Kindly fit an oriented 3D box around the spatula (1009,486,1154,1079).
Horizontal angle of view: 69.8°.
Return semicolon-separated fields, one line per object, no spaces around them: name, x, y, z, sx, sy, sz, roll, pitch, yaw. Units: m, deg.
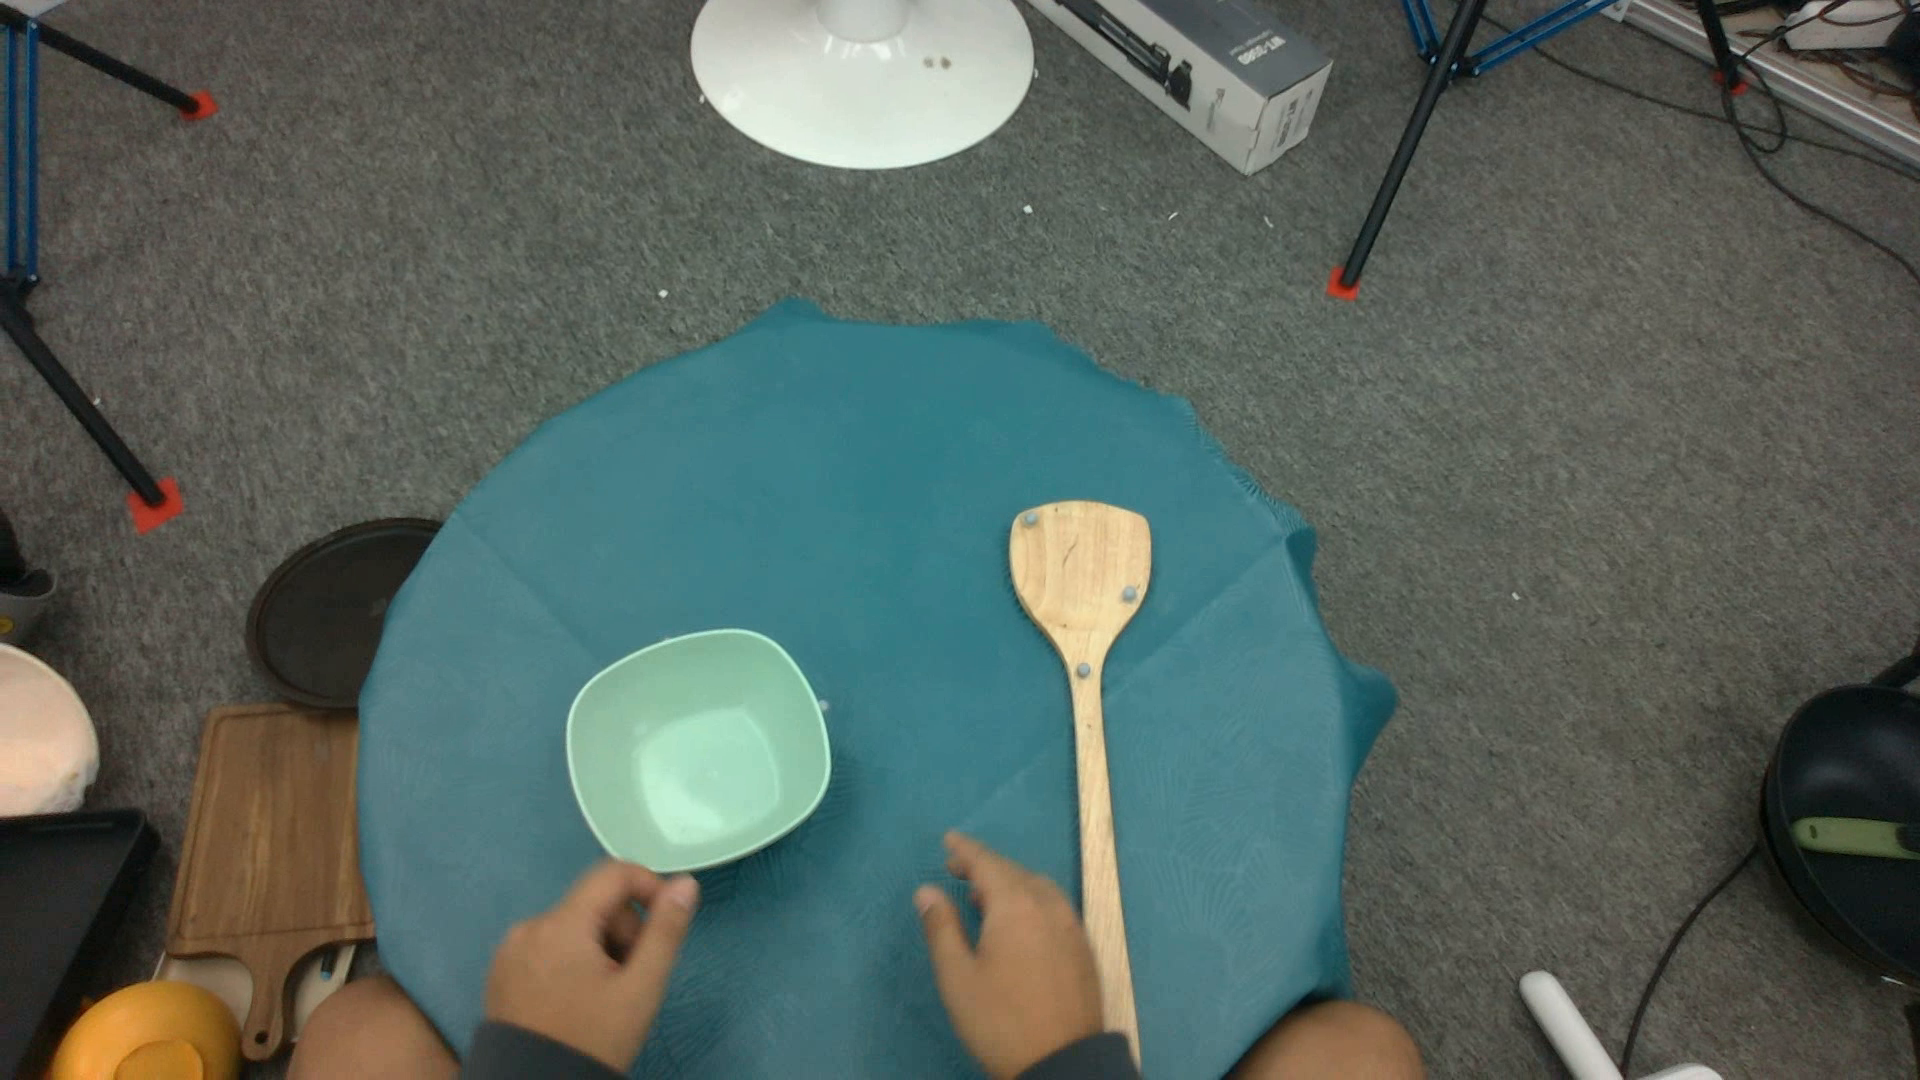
spatula;0.083;0.135;0.817;0.096;0.018;0.392;0;58;-3

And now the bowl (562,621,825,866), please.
bowl;-0.149;0.123;0.784;0.151;0.058;0.152;2;57;-3
